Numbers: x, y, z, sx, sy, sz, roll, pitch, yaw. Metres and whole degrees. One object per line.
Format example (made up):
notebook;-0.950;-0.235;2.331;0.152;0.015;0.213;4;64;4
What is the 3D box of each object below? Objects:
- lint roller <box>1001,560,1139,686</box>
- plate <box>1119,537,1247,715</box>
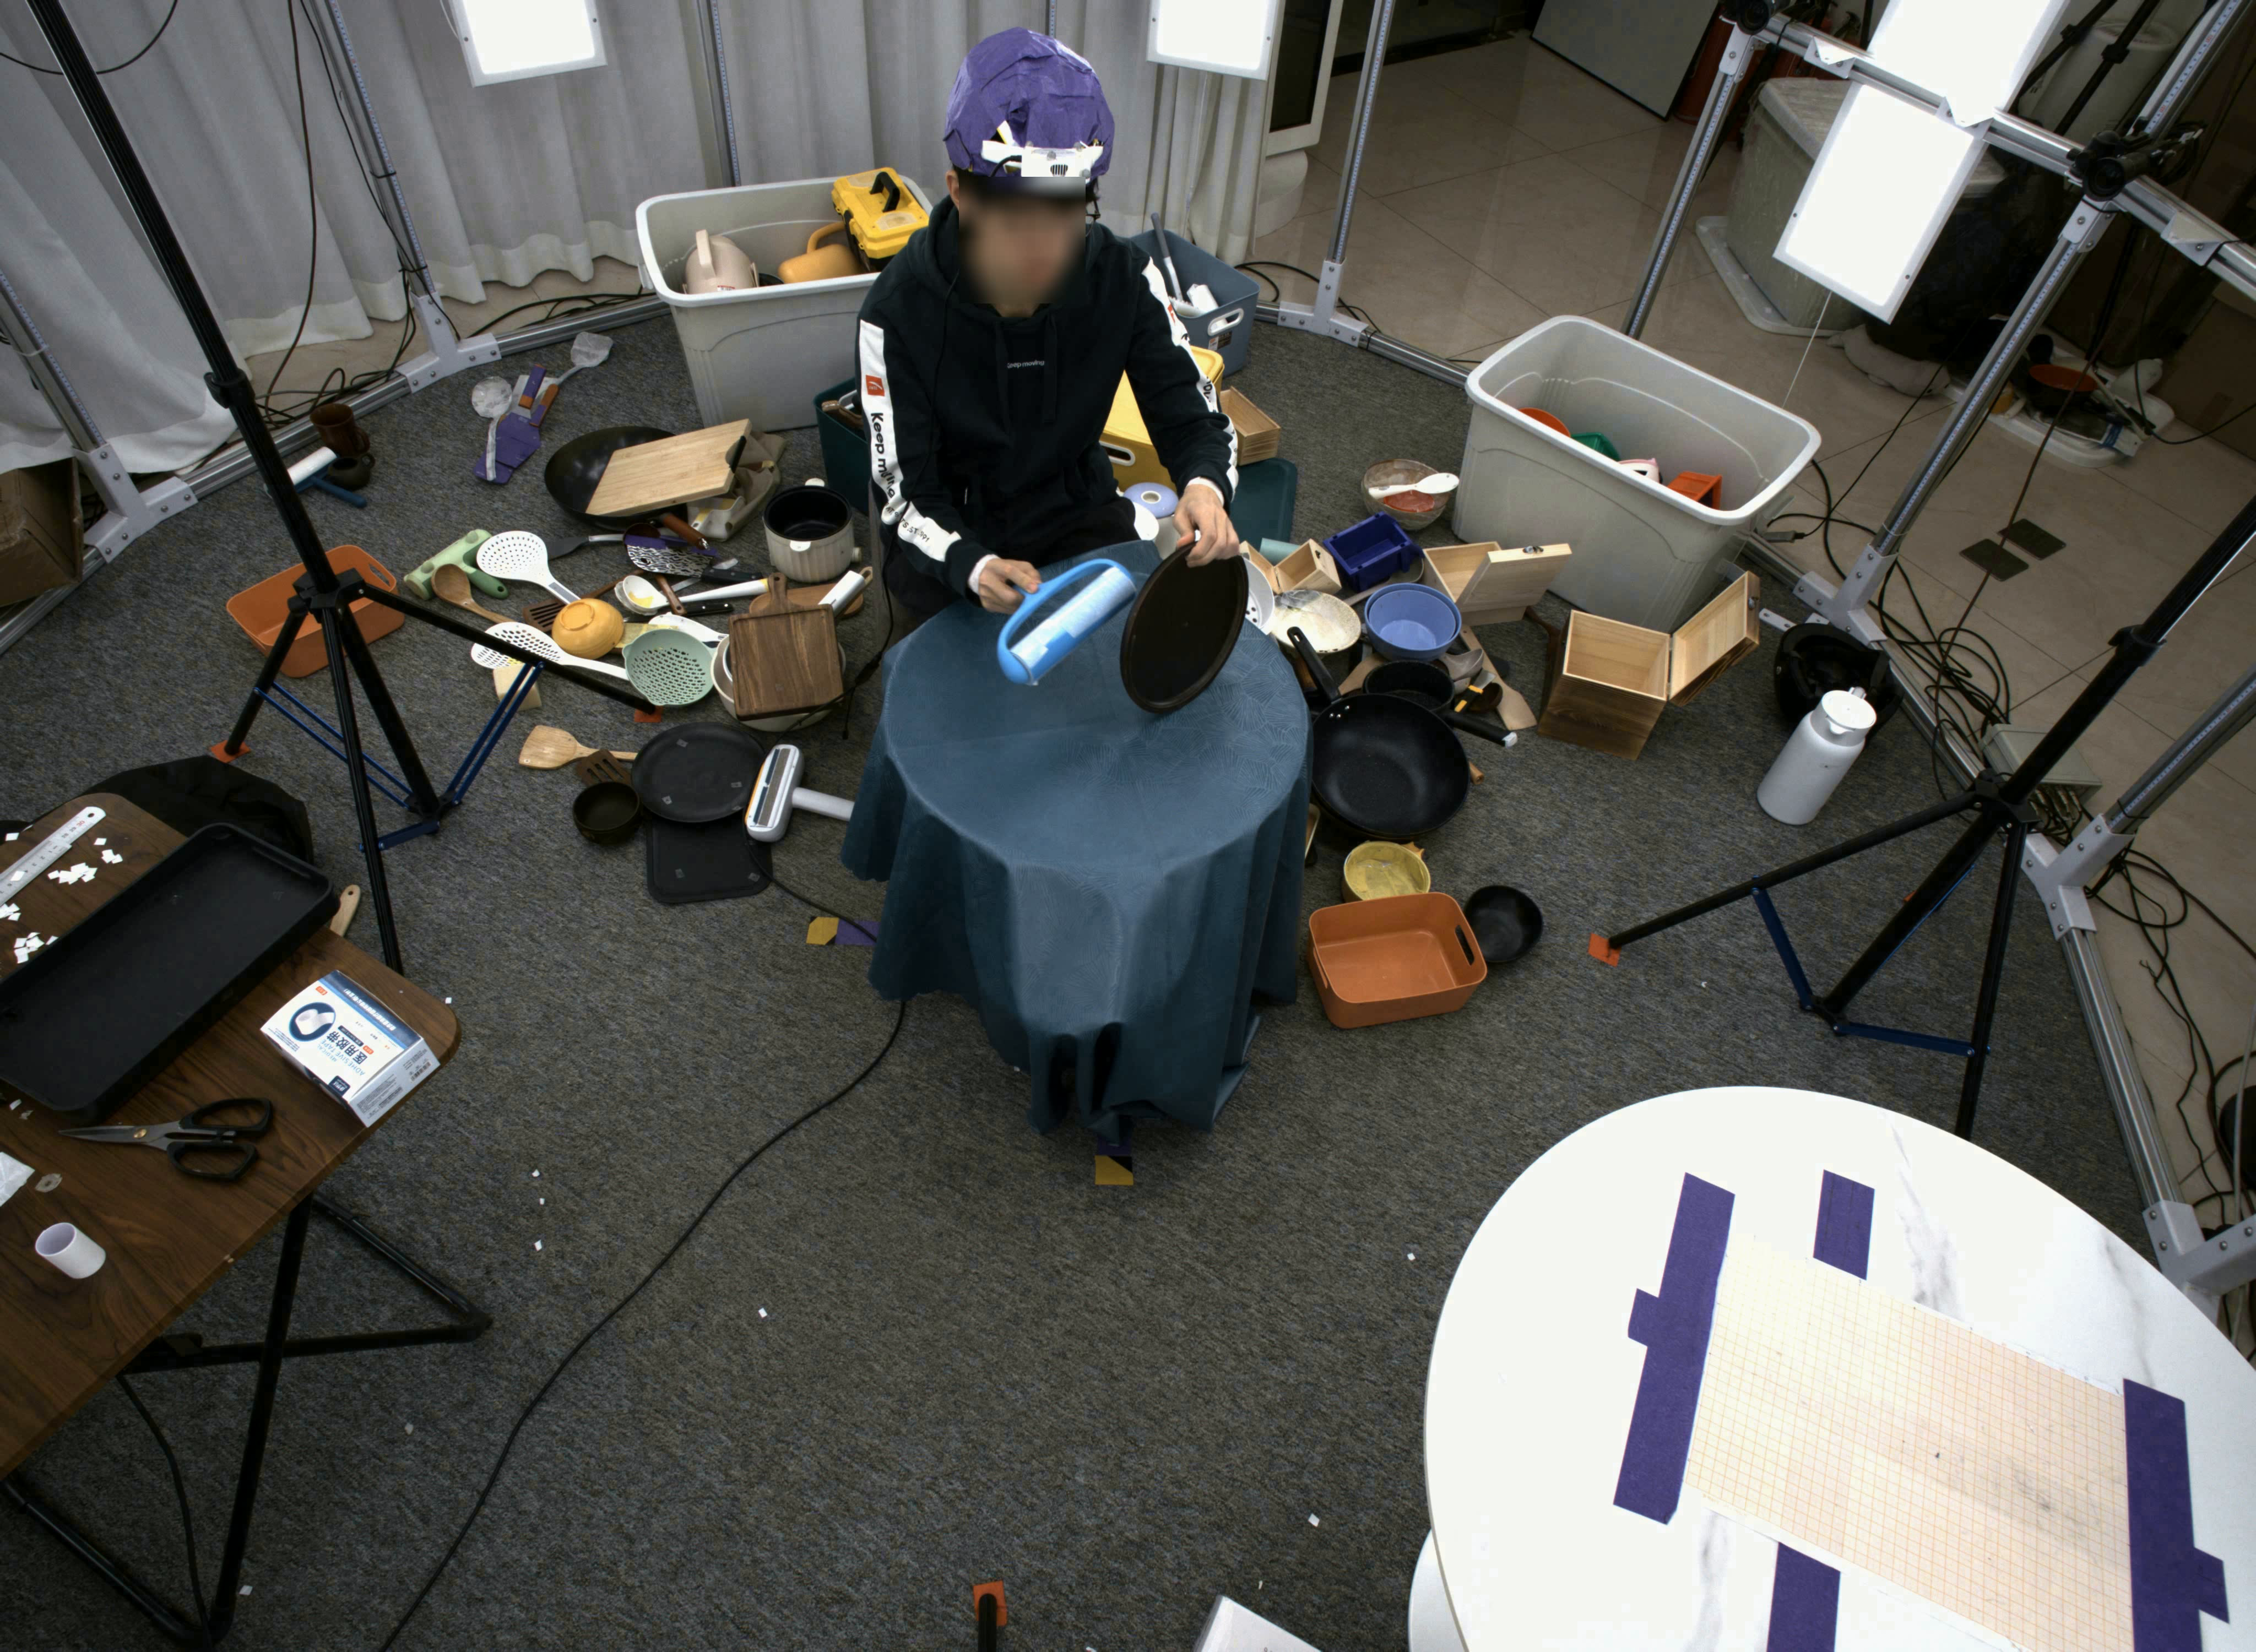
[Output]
lint roller;-0.113;-0.288;1.722;0.183;0.066;0.231;29;64;33
plate;0.076;-0.272;1.750;0.029;0.248;0.257;30;53;31
